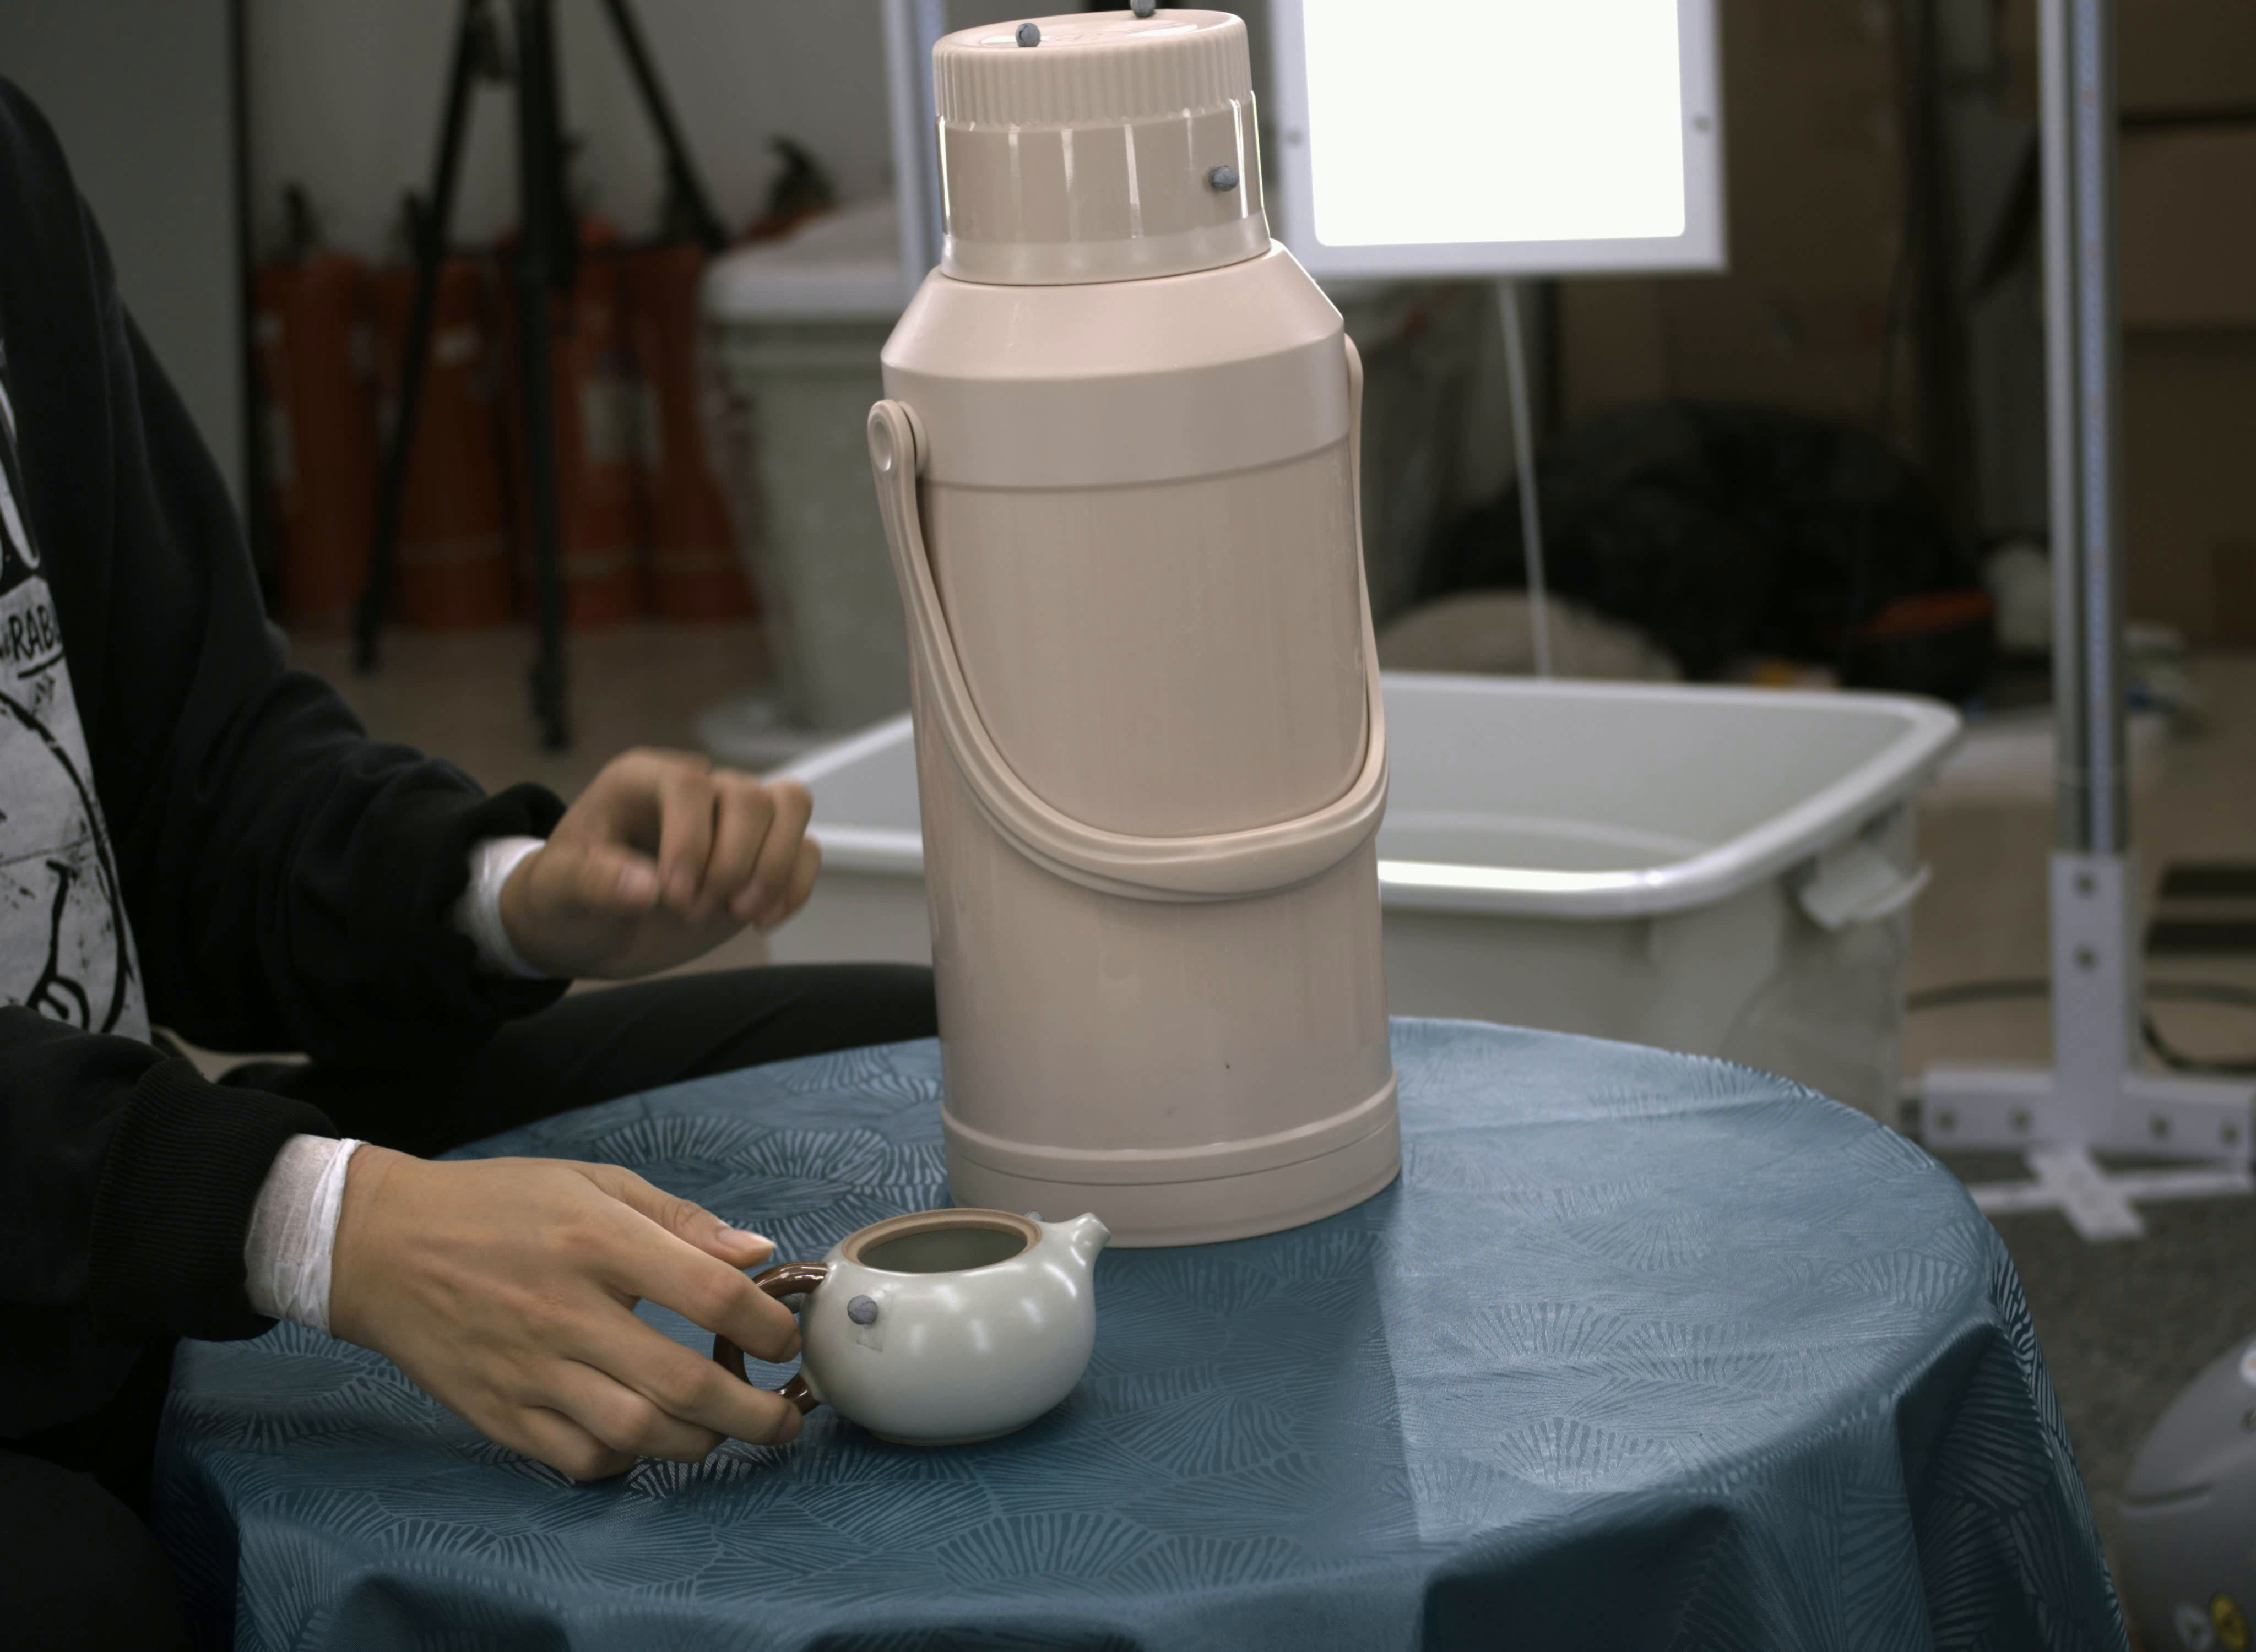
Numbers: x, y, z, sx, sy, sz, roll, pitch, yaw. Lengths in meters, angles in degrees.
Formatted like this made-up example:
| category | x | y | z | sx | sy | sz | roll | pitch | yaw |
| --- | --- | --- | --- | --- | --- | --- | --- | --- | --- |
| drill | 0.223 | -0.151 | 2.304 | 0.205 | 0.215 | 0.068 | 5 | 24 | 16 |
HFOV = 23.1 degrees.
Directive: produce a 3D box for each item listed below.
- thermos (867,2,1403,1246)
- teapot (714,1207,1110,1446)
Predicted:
| category | x | y | z | sx | sy | sz | roll | pitch | yaw |
| --- | --- | --- | --- | --- | --- | --- | --- | --- | --- |
| thermos | -0.003 | -0.073 | 1.879 | 0.172 | 0.408 | 0.210 | -13 | 17 | -25 |
| teapot | -0.065 | 0.154 | 1.687 | 0.126 | 0.060 | 0.093 | -8 | 17 | -16 |
